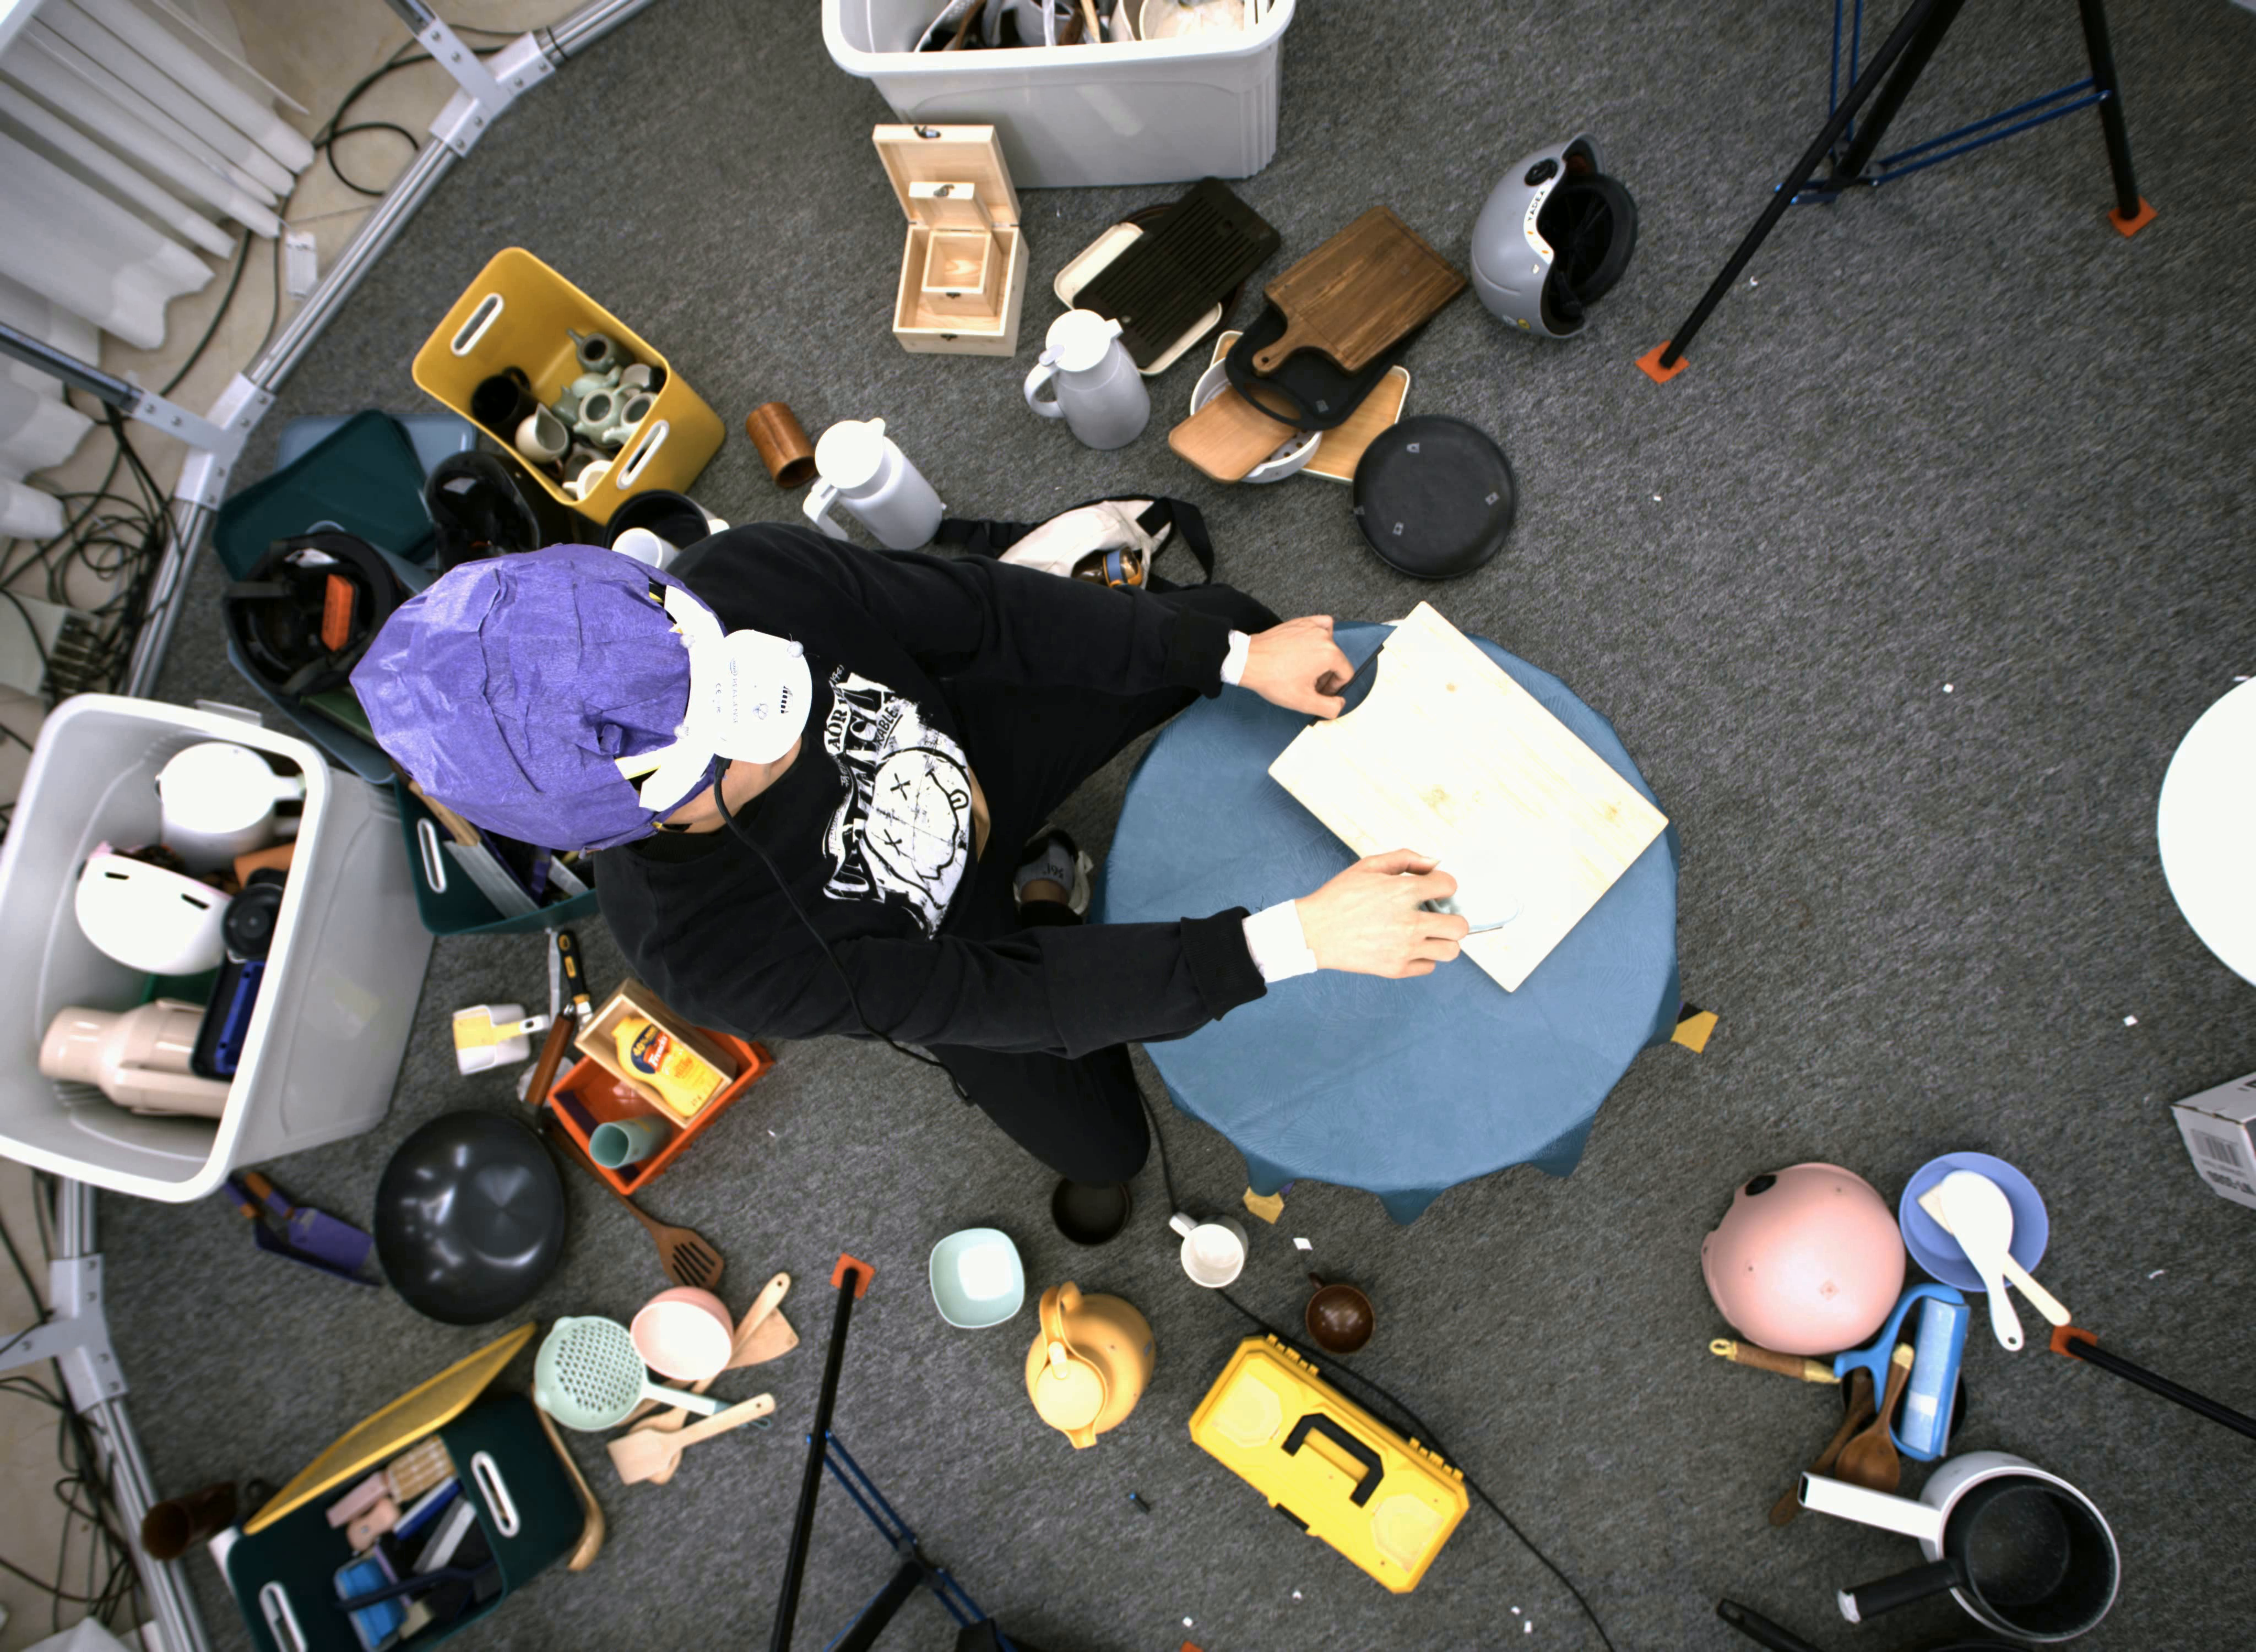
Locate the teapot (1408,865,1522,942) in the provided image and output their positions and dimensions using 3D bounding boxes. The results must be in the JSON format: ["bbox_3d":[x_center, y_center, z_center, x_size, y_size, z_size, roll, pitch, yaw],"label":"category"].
[{"bbox_3d":[0.284,0.064,1.181,0.097,0.136,0.061,-14,83,33],"label":"teapot"}]

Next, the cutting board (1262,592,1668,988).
[{"bbox_3d":[0.345,-0.037,1.419,0.348,0.023,0.252,41,95,2],"label":"cutting board"}]
